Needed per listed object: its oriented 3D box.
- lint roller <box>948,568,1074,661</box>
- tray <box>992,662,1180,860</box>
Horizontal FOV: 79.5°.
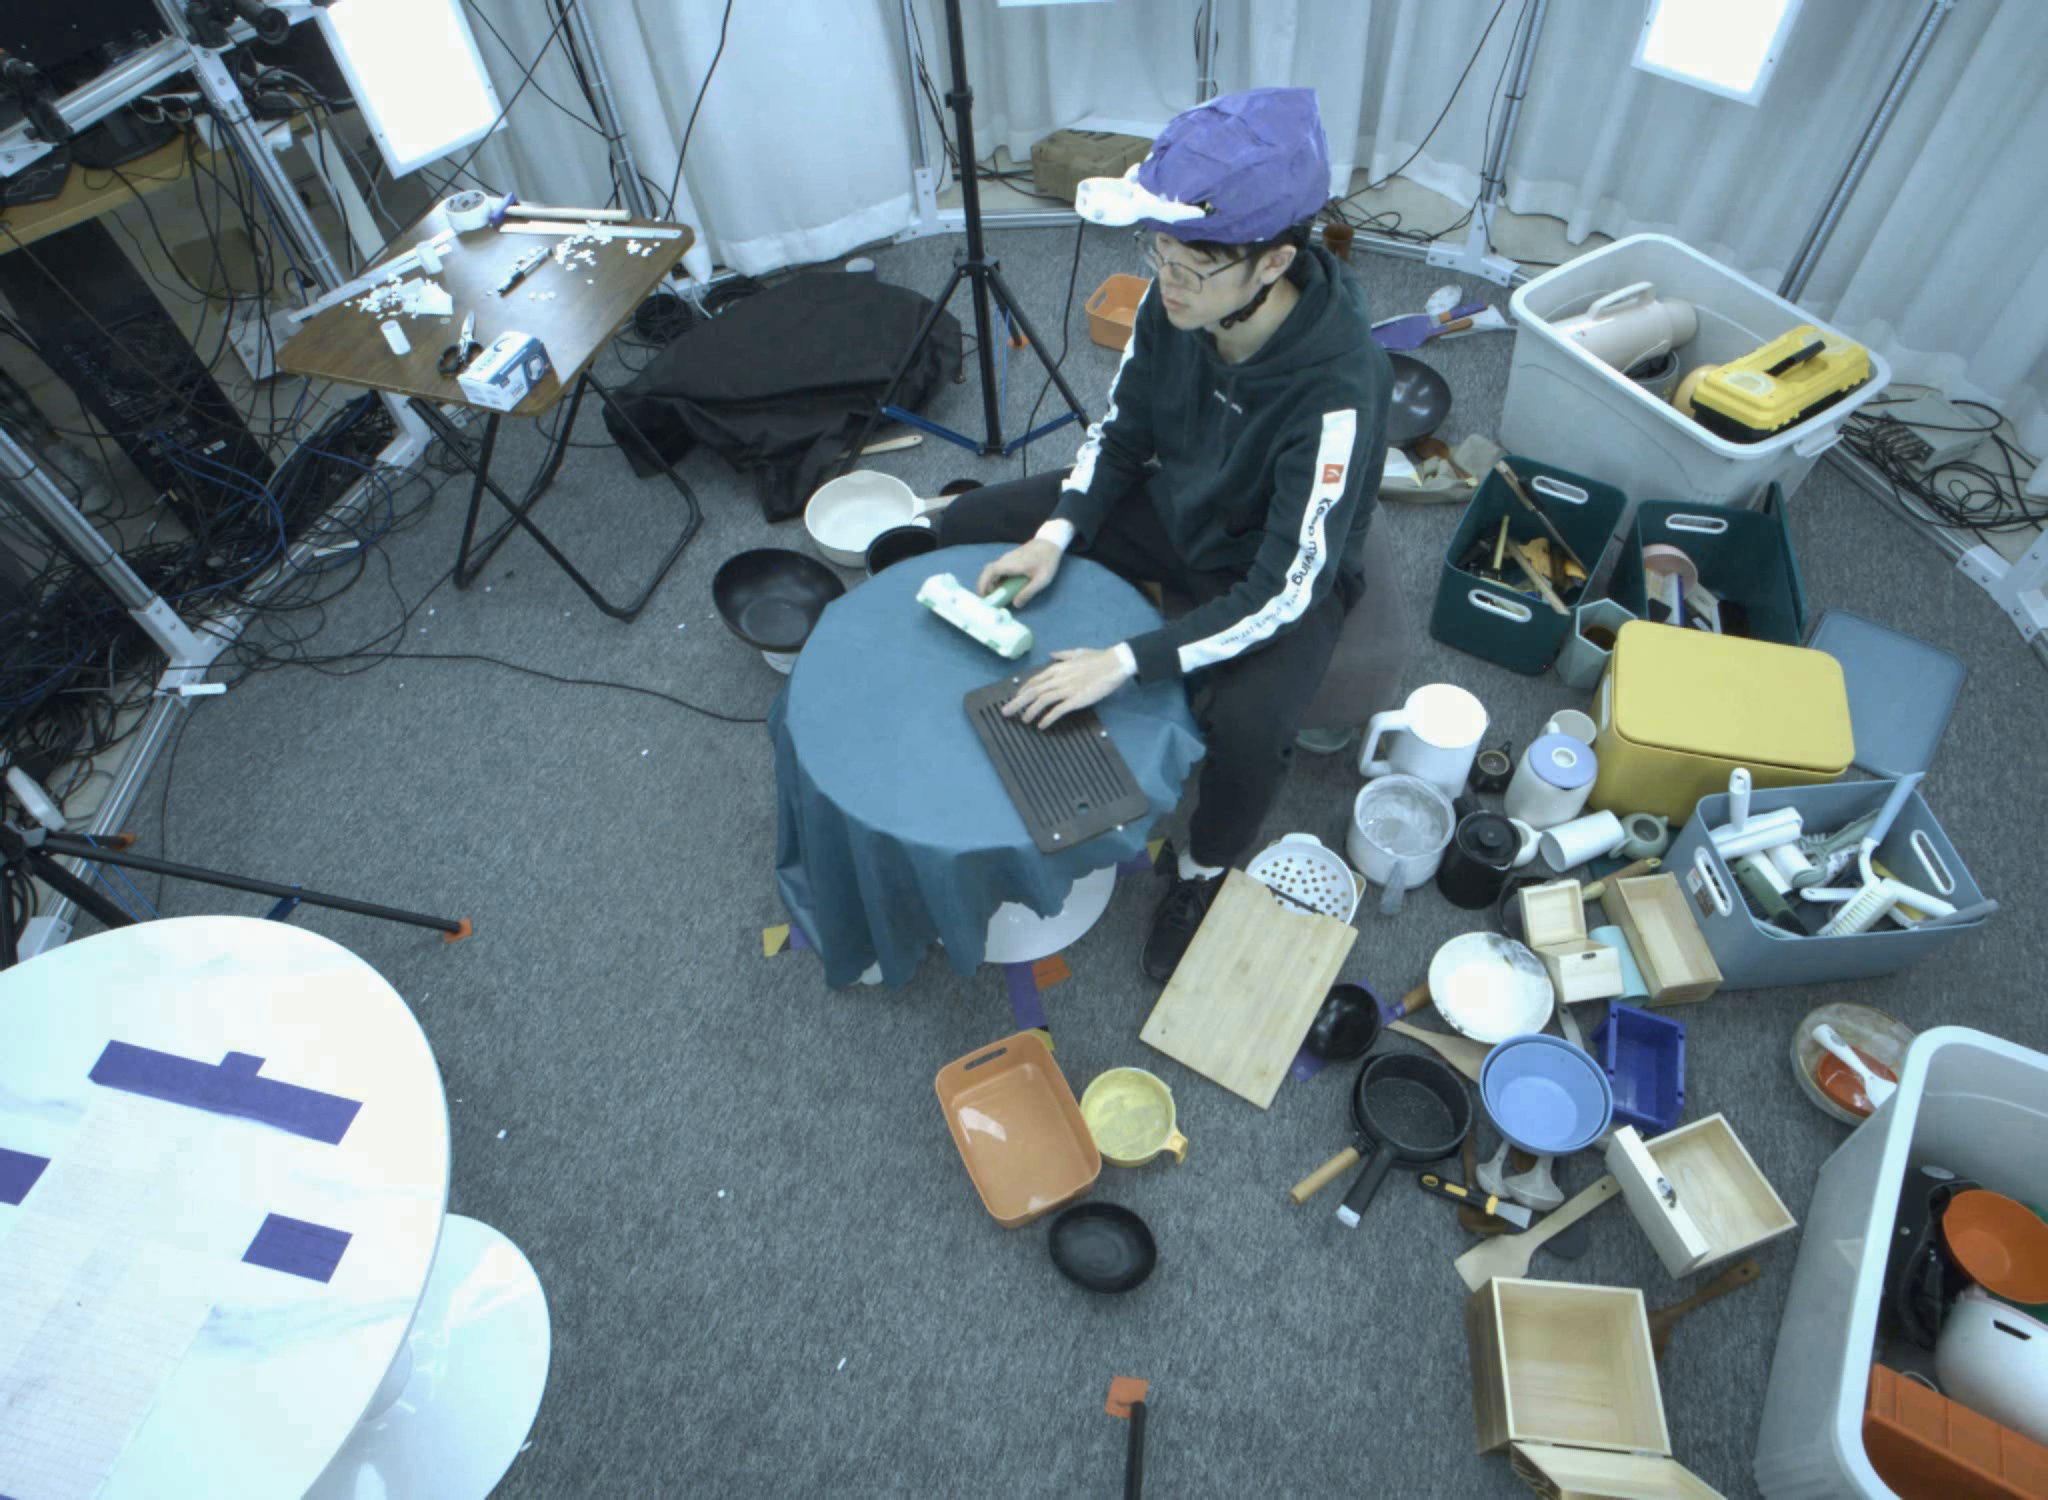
[{"bbox_3d":[0.009,-0.244,1.906,0.195,0.083,0.184,37,67,25],"label":"lint roller"},{"bbox_3d":[0.084,0.011,1.767,0.171,0.019,0.300,-20,58,-11],"label":"tray"}]
